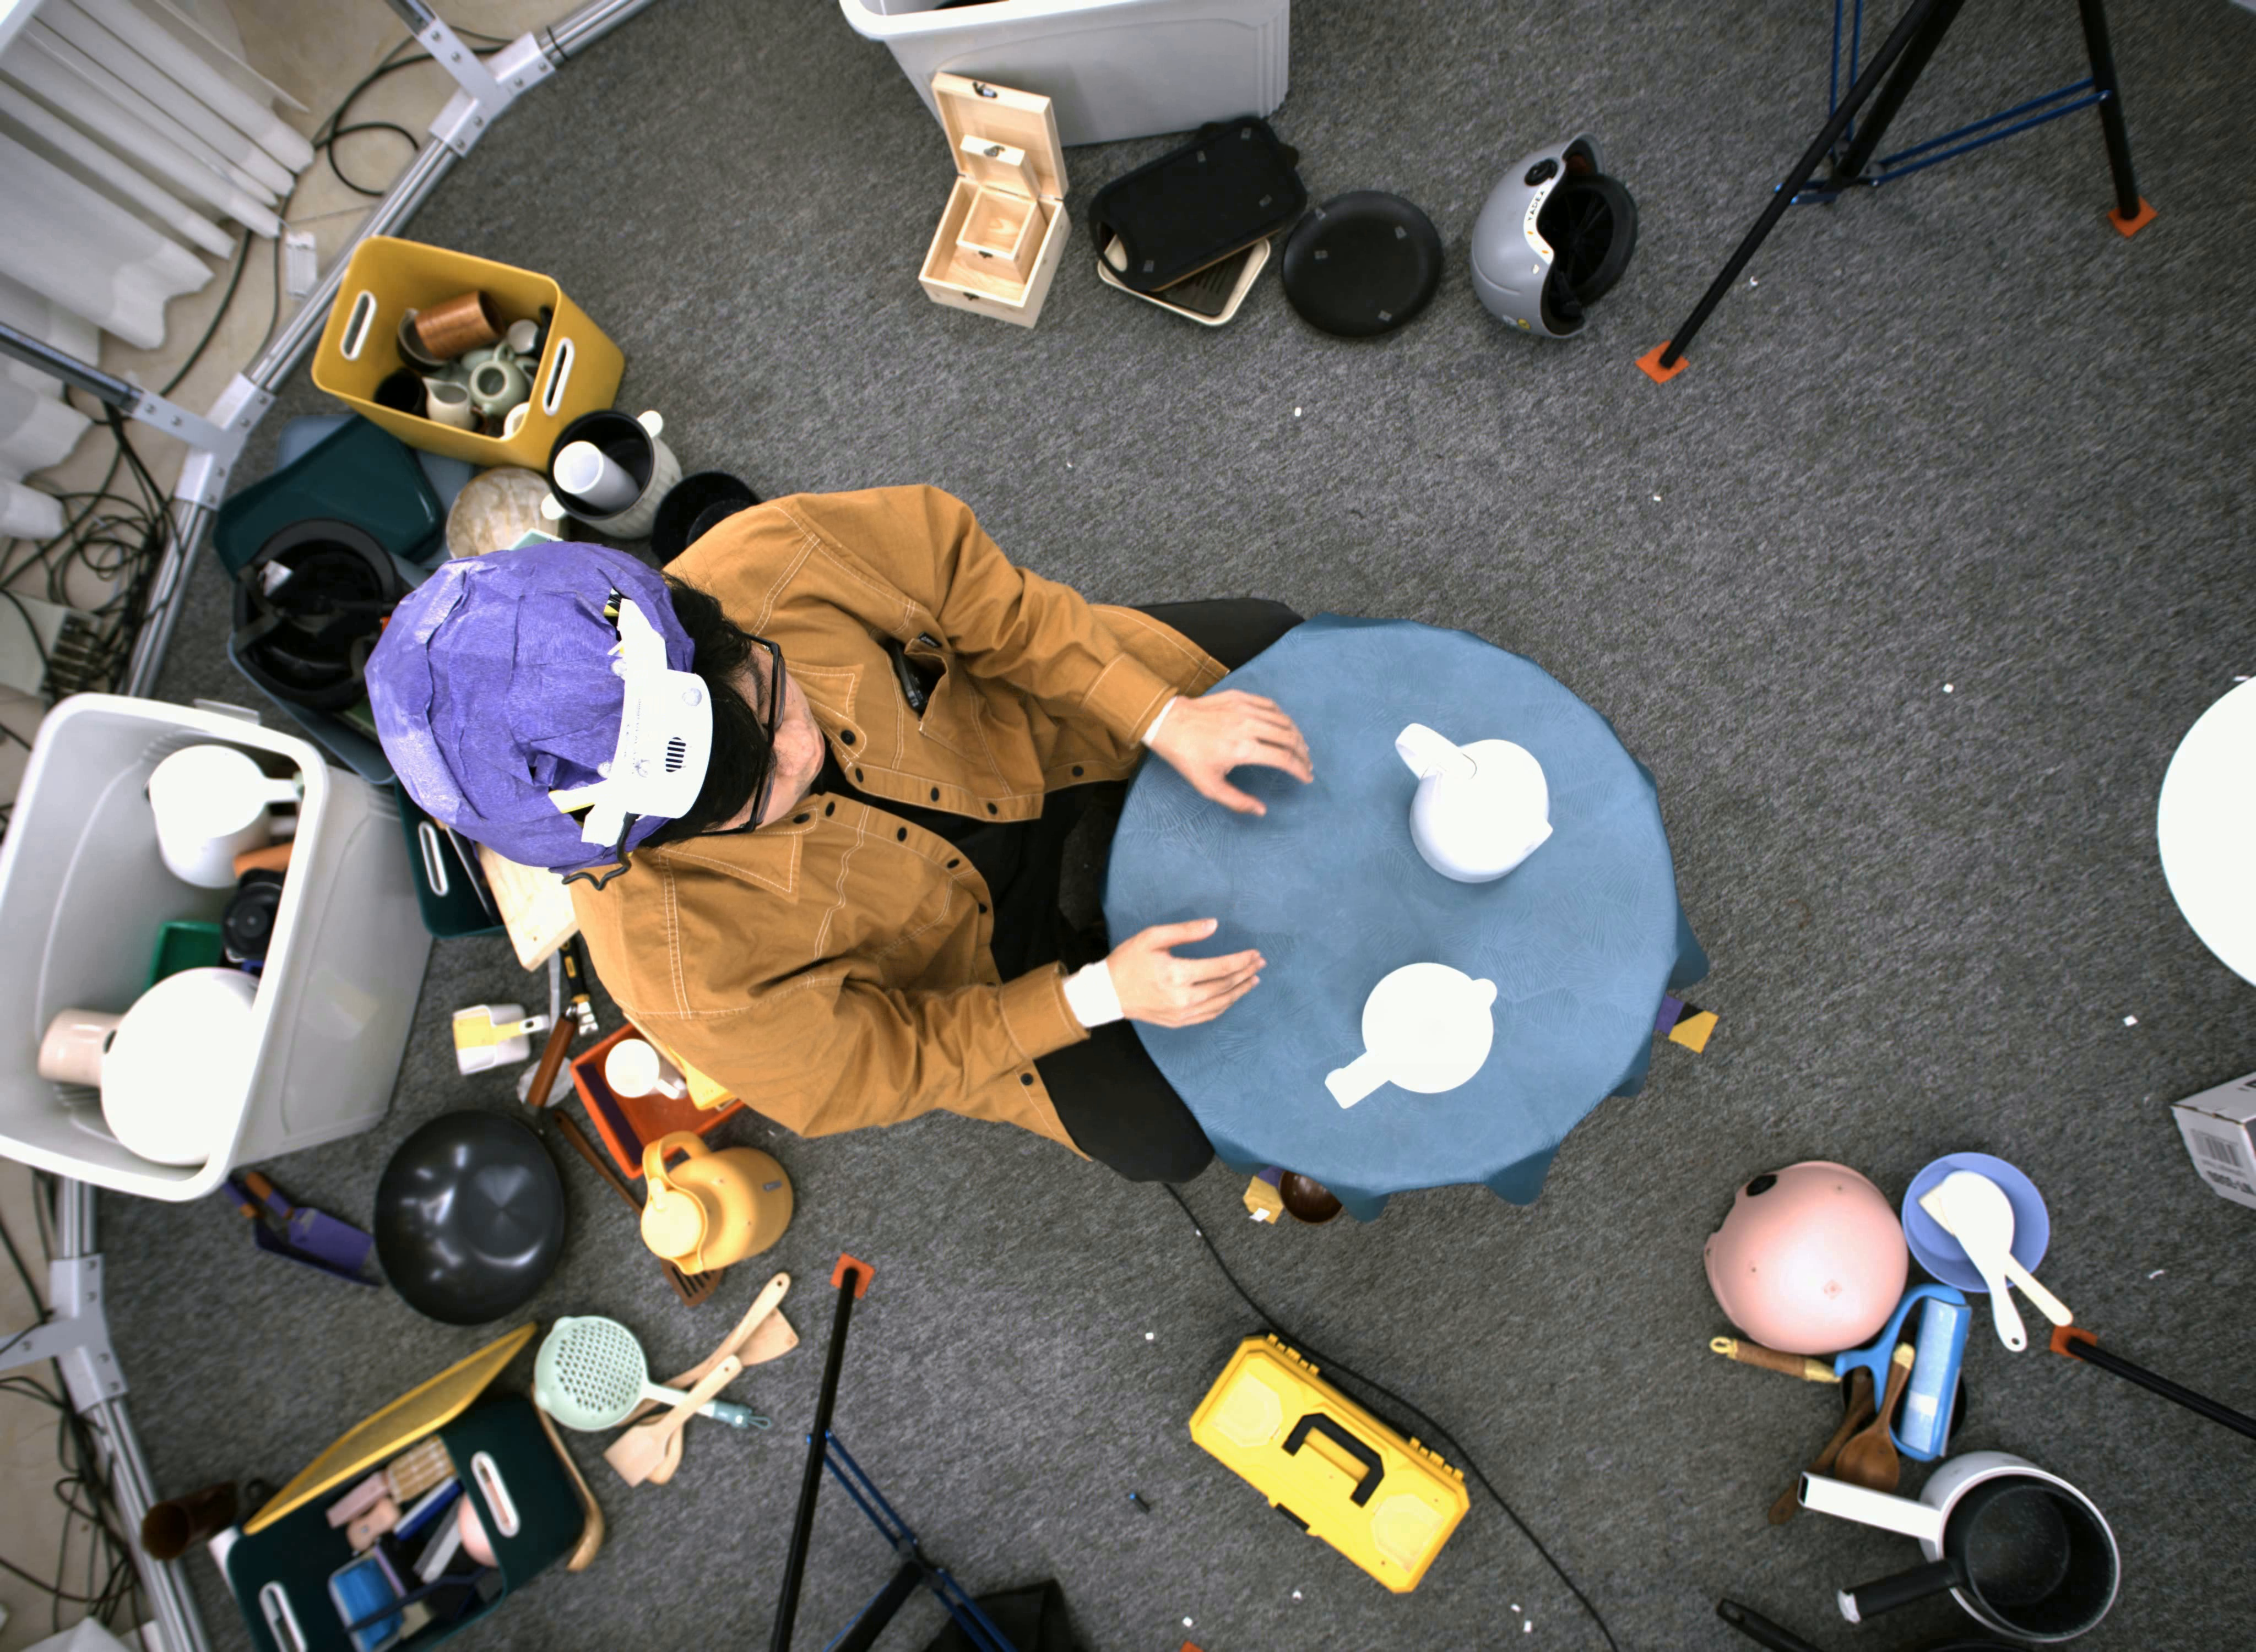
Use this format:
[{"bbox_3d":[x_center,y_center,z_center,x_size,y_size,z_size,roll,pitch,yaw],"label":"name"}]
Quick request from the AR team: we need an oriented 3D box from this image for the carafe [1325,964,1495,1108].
[{"bbox_3d":[0.269,0.200,1.320,0.174,0.269,0.123,-37,82,6],"label":"carafe"}]

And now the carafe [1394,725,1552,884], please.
[{"bbox_3d":[0.327,-0.031,1.329,0.167,0.249,0.133,41,93,12],"label":"carafe"}]
